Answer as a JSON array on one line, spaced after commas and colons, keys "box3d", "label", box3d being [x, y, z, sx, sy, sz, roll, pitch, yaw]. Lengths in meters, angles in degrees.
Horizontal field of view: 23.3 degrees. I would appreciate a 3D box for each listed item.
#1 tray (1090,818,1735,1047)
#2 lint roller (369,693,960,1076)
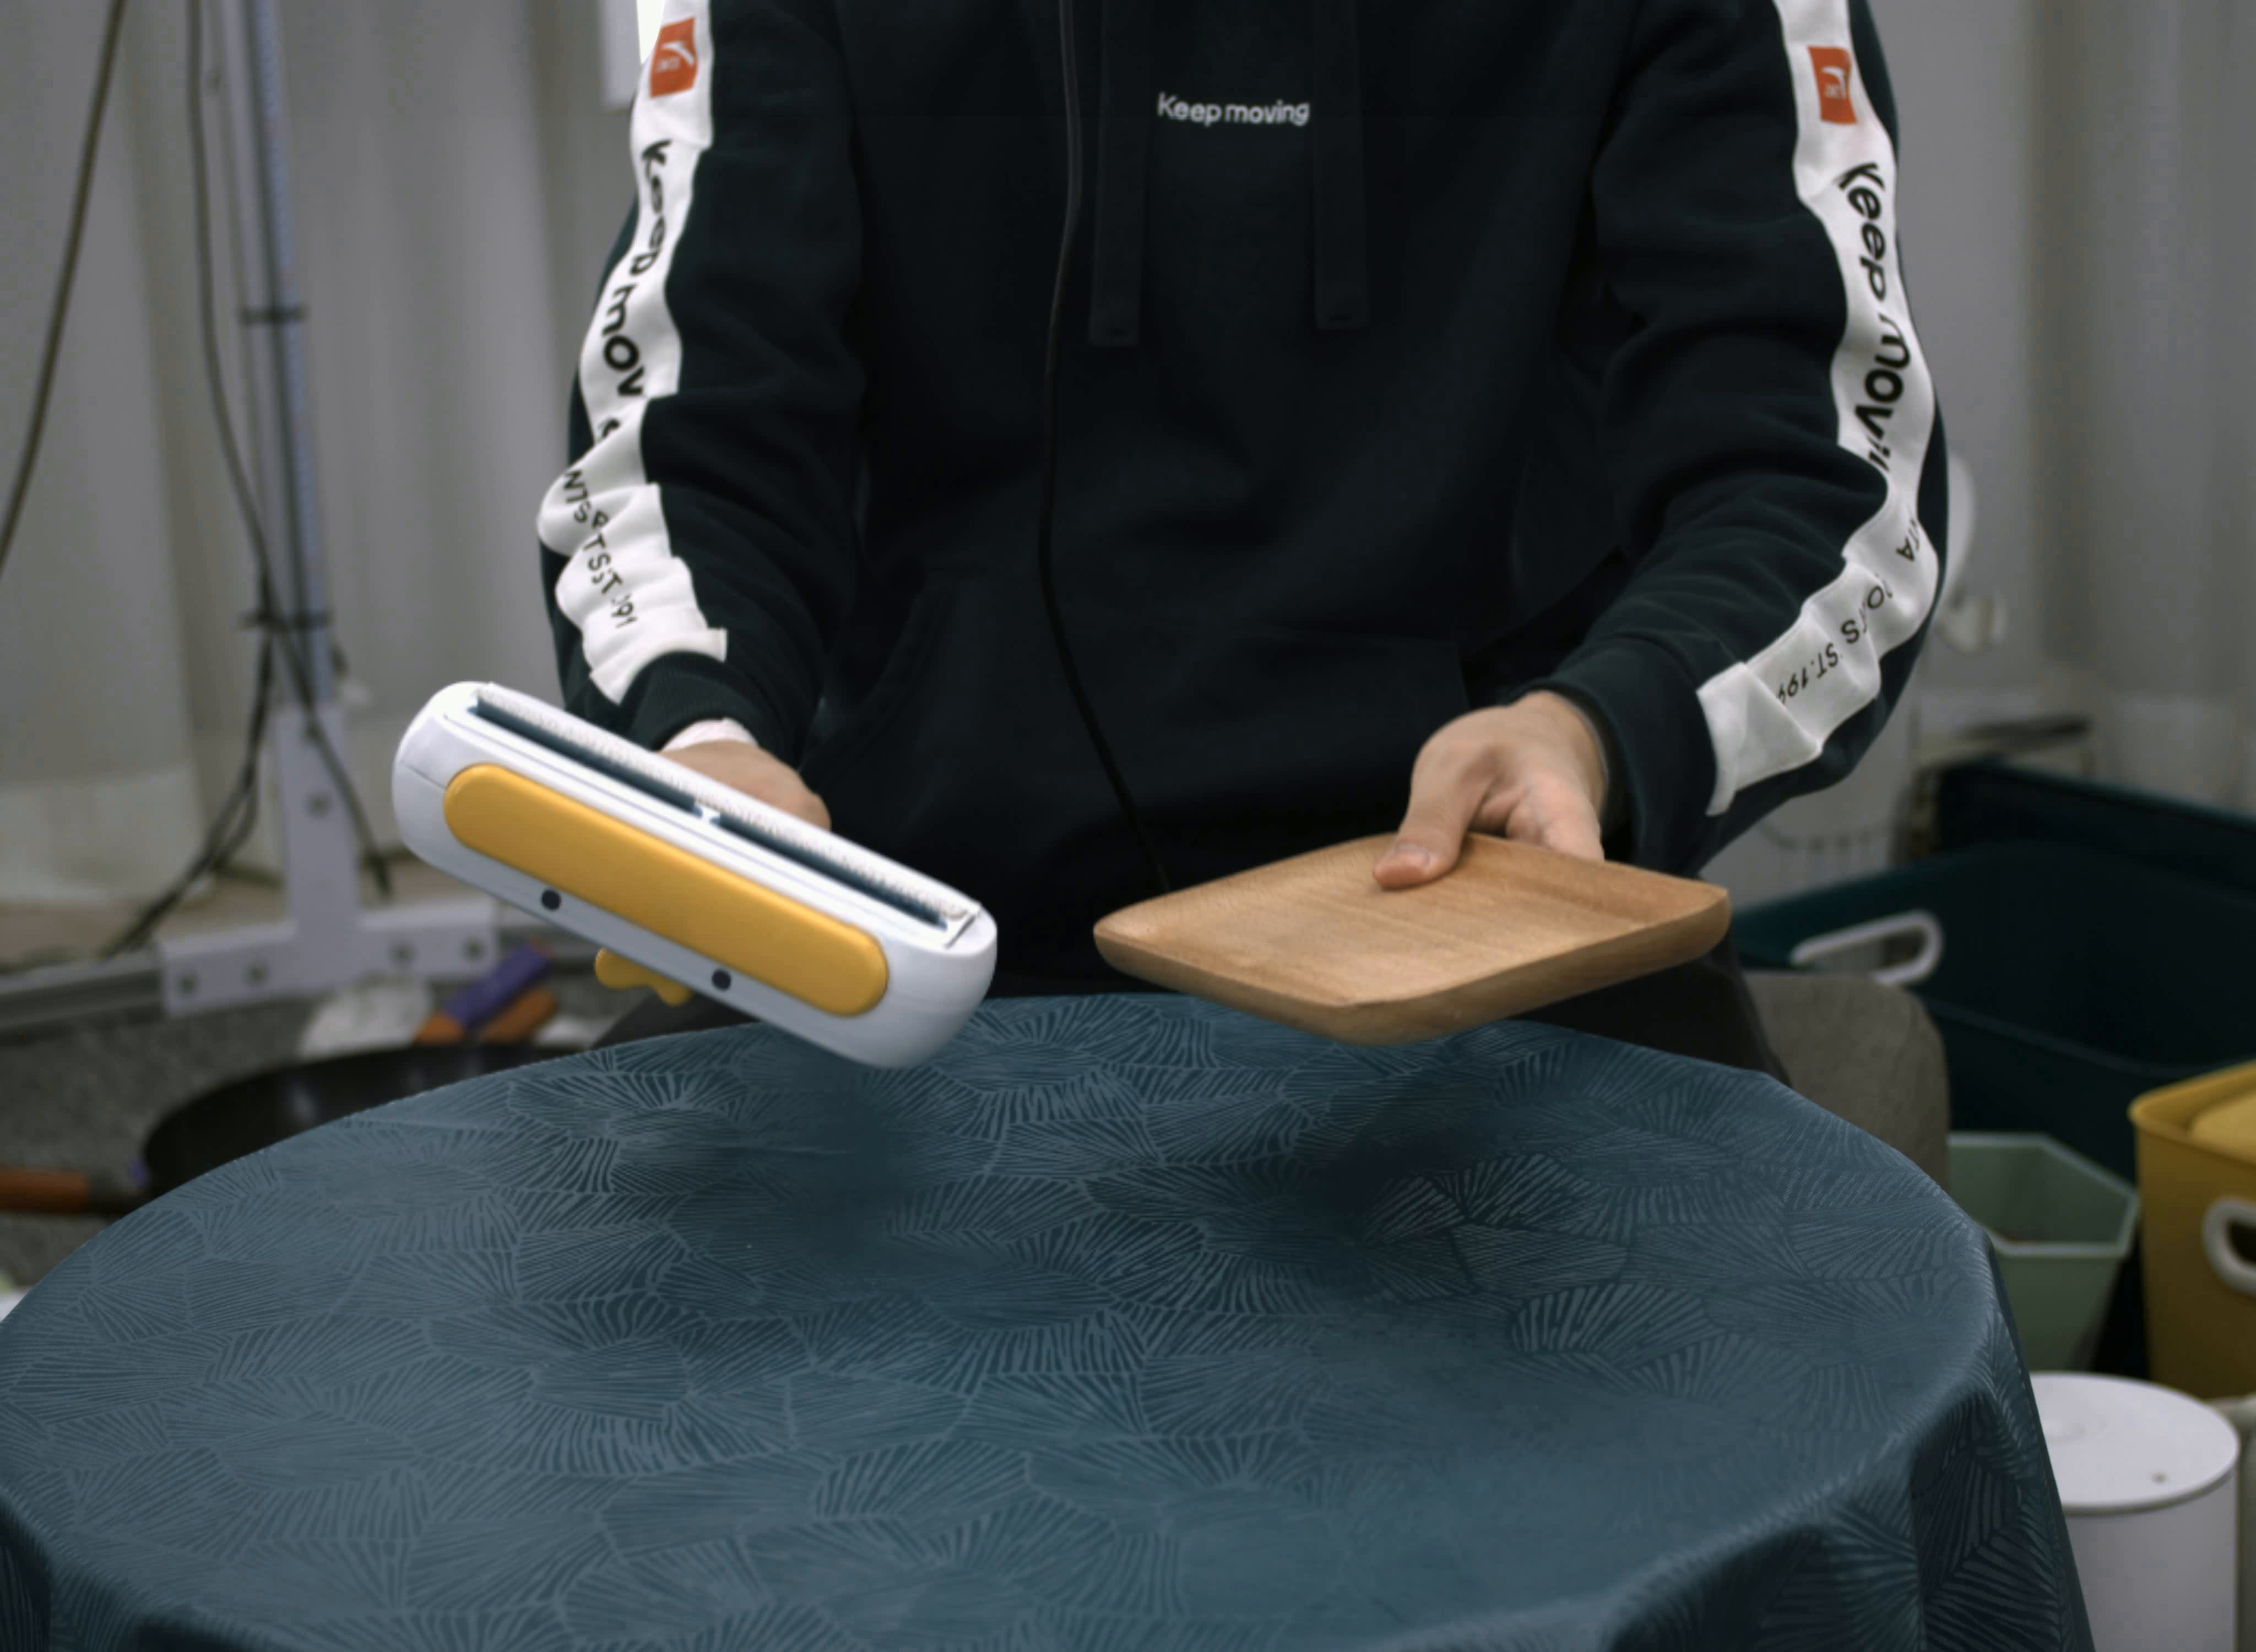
[{"box3d": [0.081, 0.030, 1.638, 0.130, 0.023, 0.252, -14, 9, -17], "label": "tray"}, {"box3d": [-0.134, 0.030, 1.718, 0.193, 0.074, 0.191, 22, -4, 12], "label": "lint roller"}]
